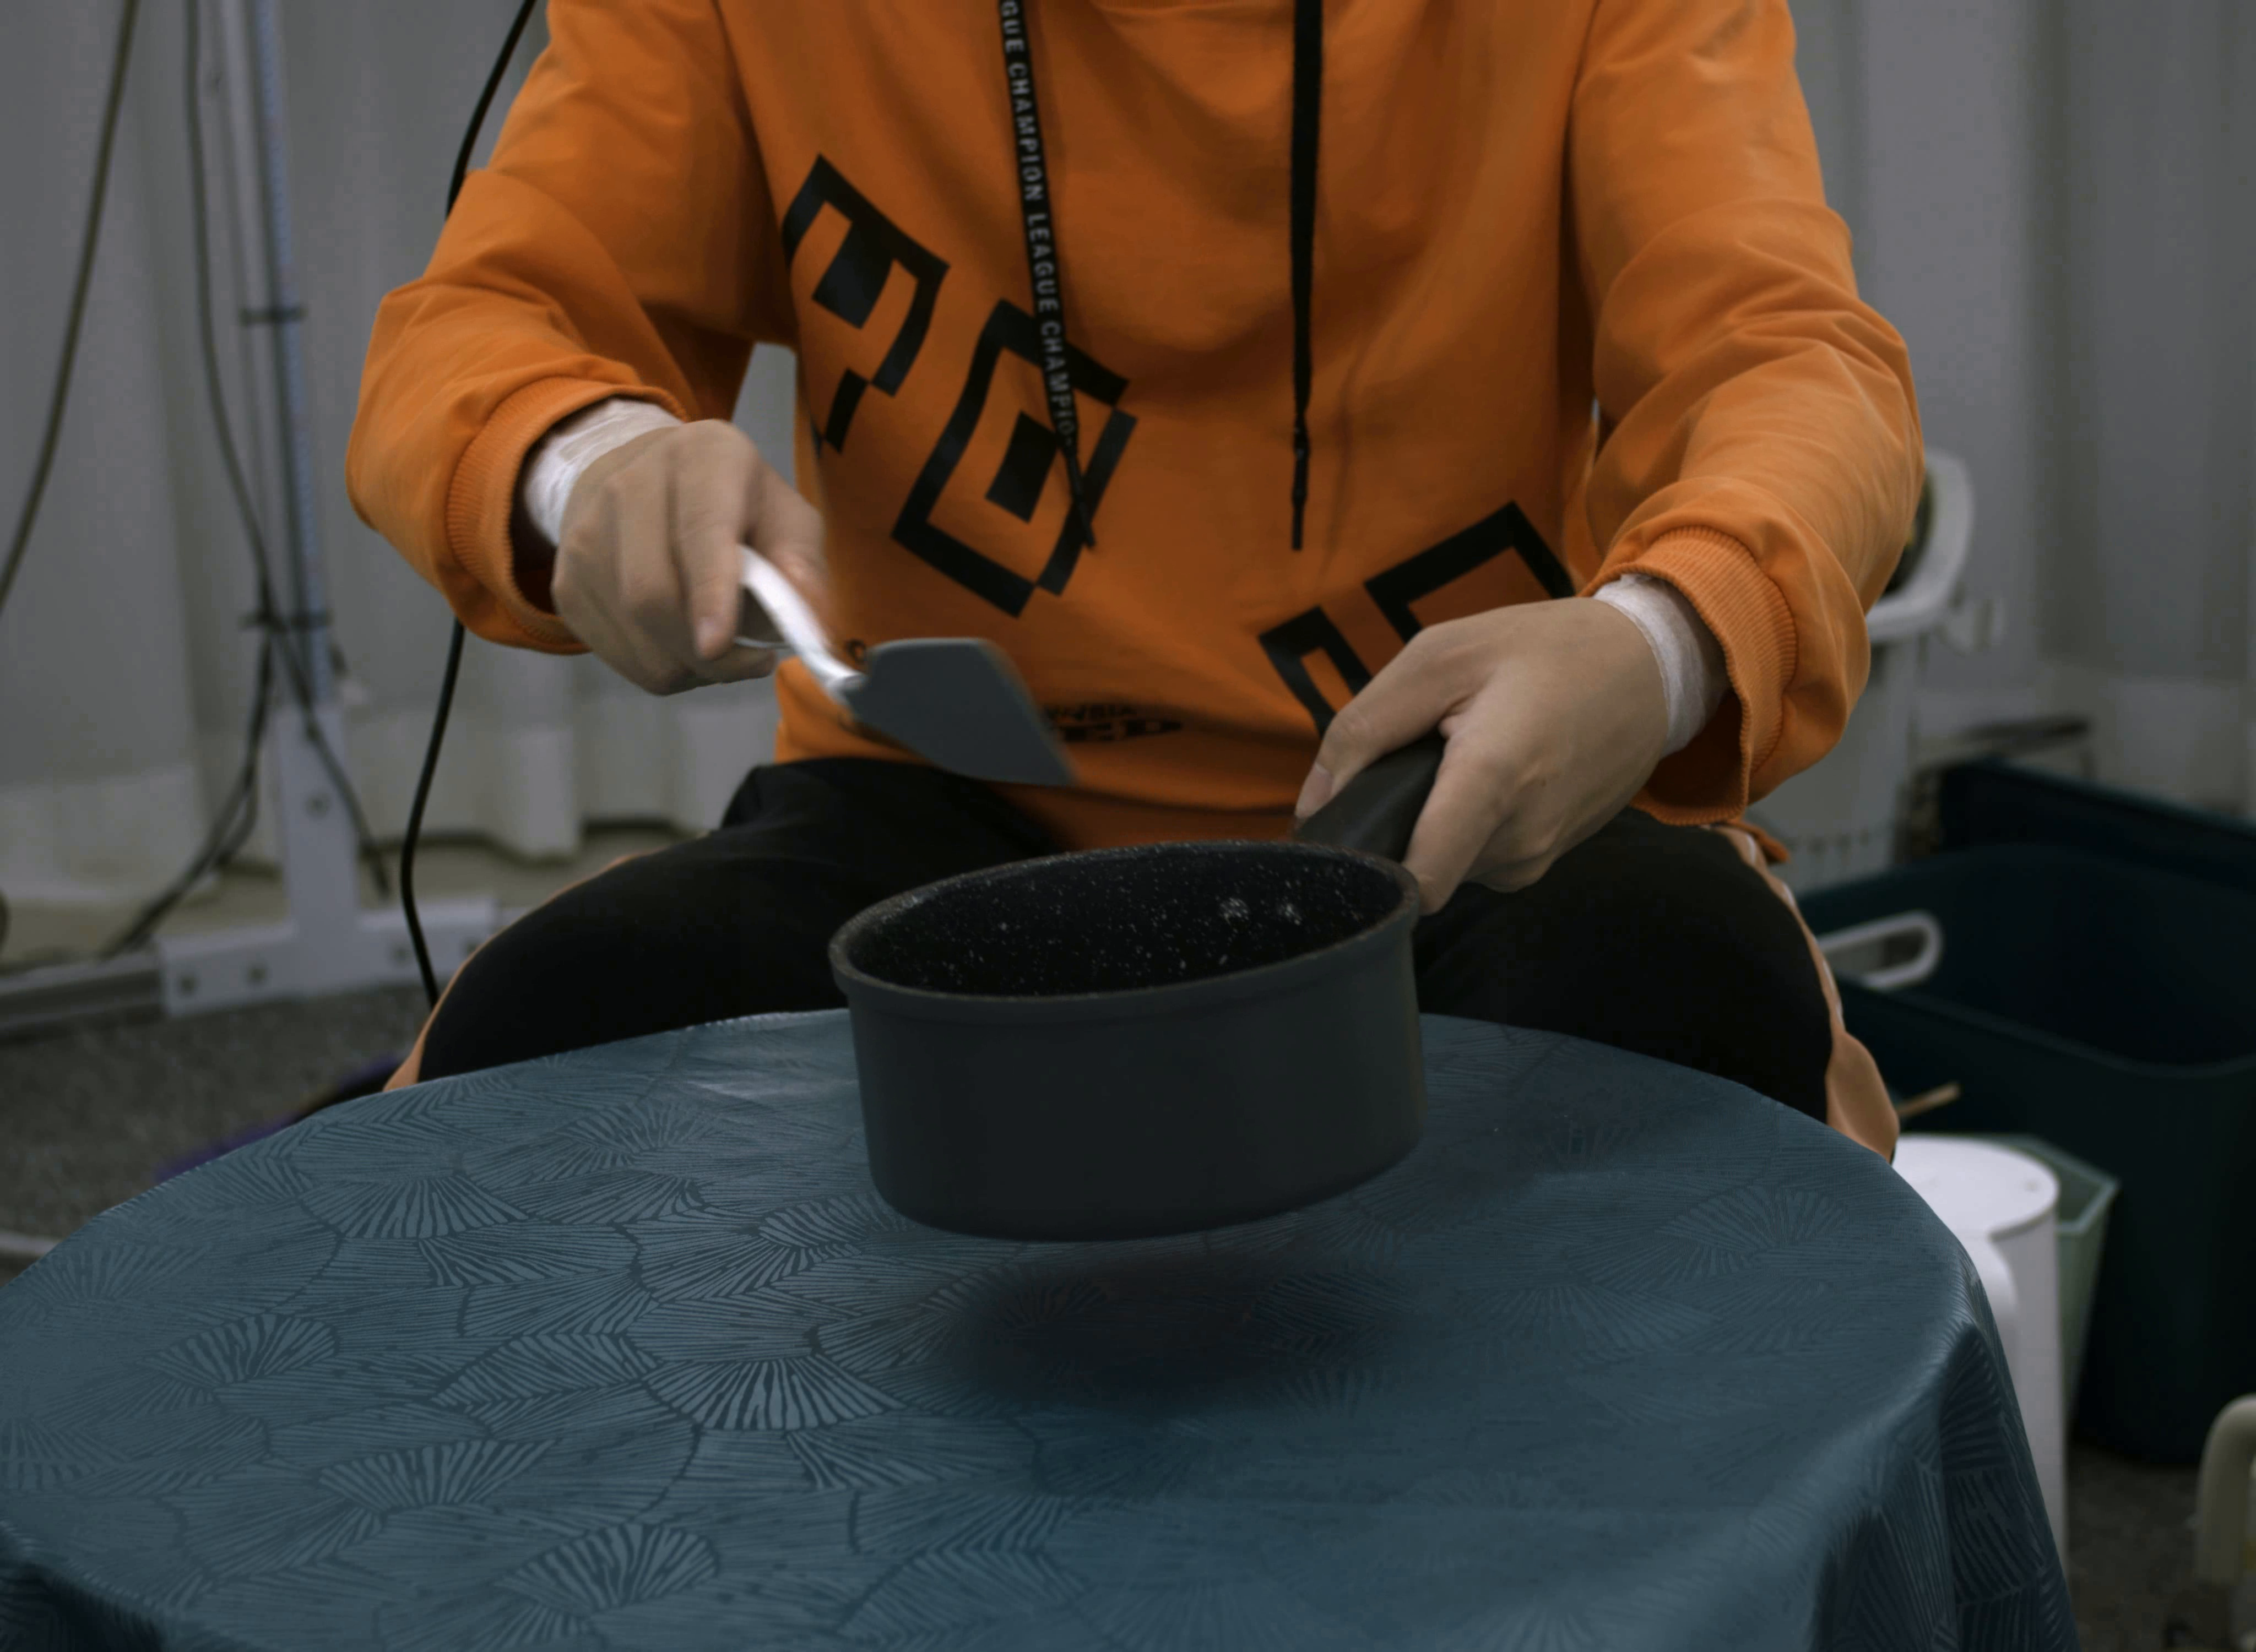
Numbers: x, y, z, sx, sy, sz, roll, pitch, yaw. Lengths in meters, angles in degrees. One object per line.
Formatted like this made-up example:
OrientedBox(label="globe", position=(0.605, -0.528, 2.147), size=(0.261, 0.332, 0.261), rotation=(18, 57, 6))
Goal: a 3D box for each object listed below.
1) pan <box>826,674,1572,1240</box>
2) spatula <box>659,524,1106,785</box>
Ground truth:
OrientedBox(label="pan", position=(0.044, 0.037, 1.641), size=(0.172, 0.086, 0.329), rotation=(3, 18, 33))
OrientedBox(label="spatula", position=(-0.081, -0.054, 1.650), size=(0.032, 0.058, 0.290), rotation=(-34, 22, -13))
